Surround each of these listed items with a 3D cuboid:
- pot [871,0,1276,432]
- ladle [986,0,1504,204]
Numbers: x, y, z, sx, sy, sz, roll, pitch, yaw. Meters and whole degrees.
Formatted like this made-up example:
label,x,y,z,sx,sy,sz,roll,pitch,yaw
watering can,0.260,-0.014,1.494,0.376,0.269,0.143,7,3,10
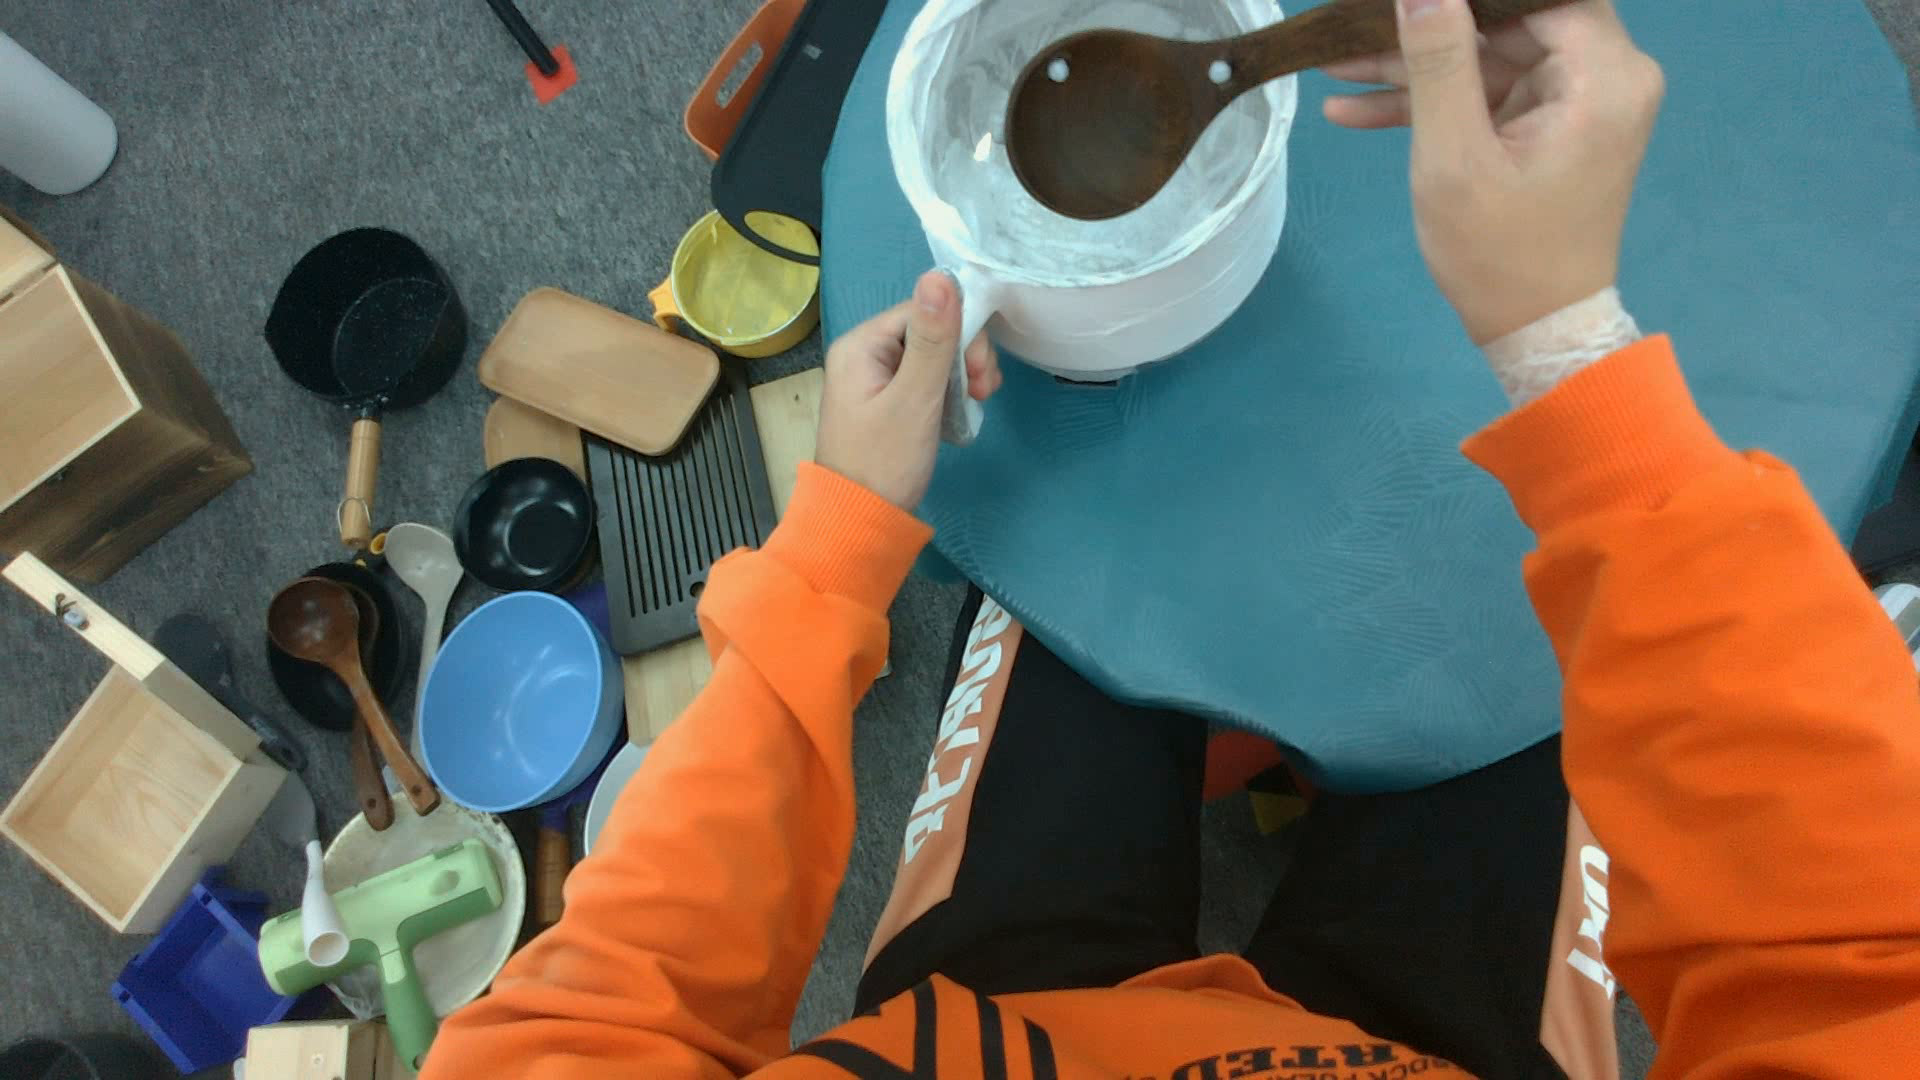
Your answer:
label,x,y,z,sx,sy,sz,roll,pitch,yaw
pot,0.042,-0.161,0.654,0.179,0.136,0.234,33,84,17
ladle,0.114,-0.173,0.481,0.071,0.273,0.076,-43,116,-27
